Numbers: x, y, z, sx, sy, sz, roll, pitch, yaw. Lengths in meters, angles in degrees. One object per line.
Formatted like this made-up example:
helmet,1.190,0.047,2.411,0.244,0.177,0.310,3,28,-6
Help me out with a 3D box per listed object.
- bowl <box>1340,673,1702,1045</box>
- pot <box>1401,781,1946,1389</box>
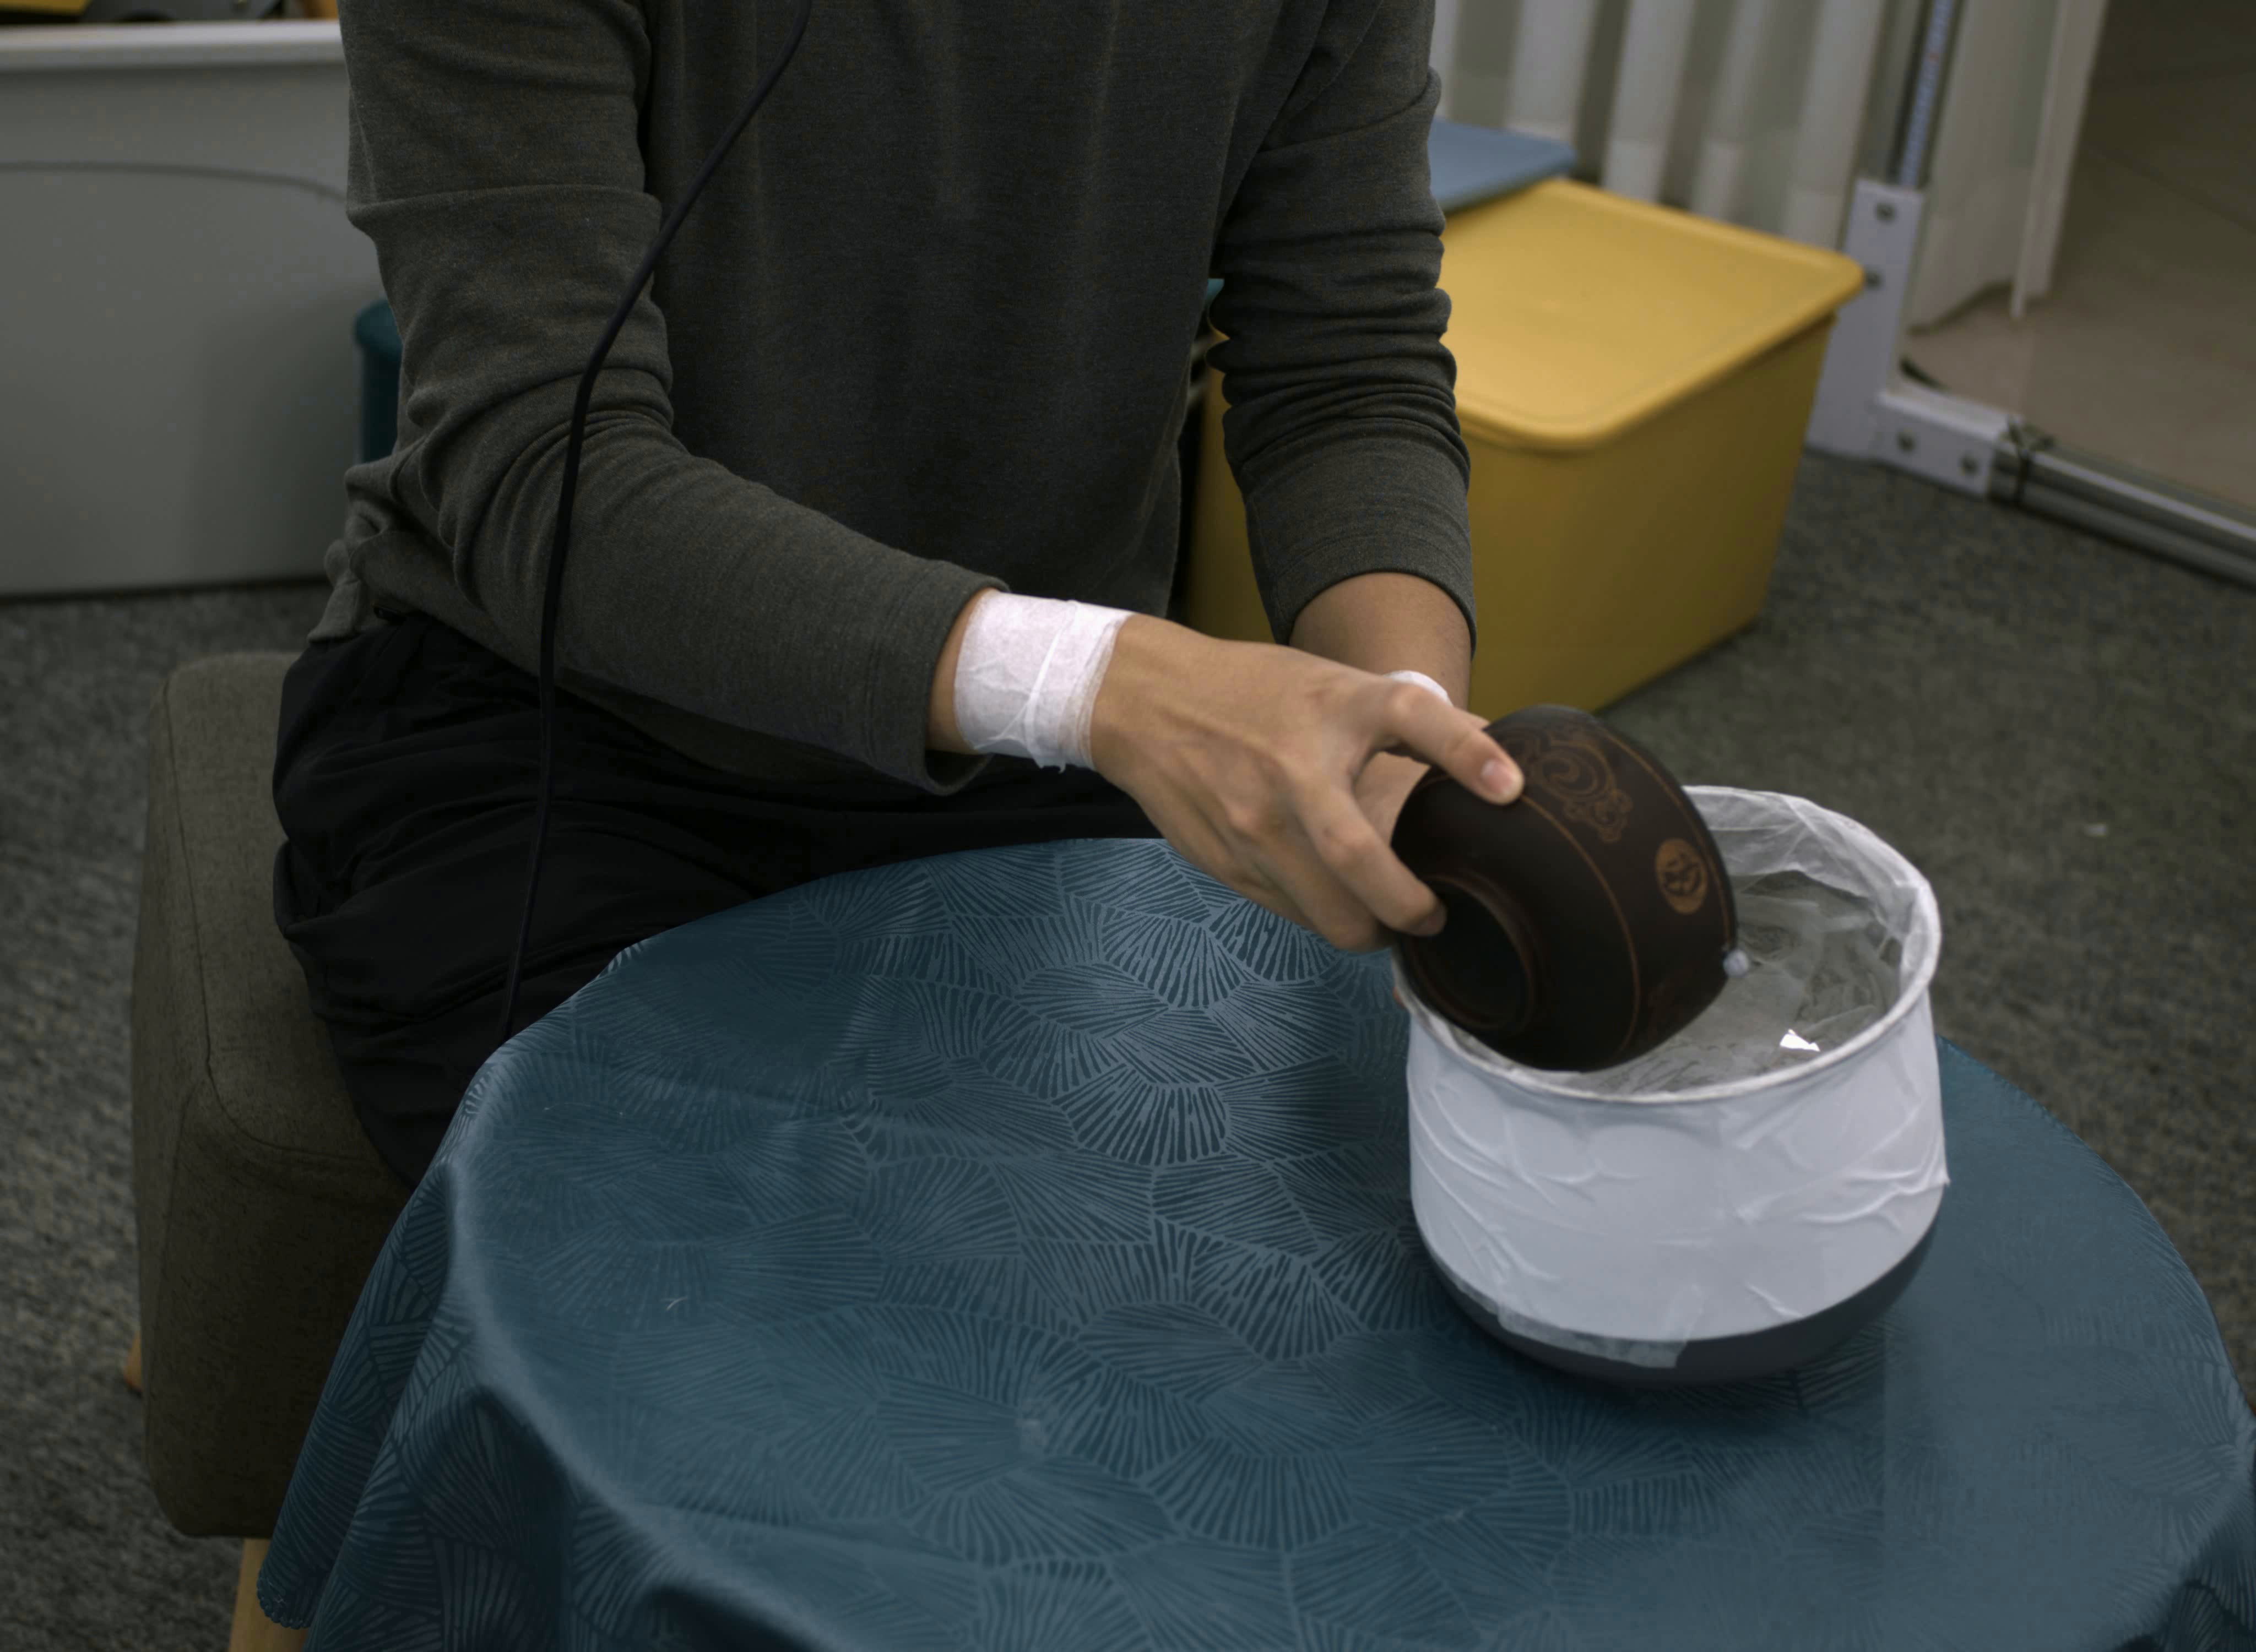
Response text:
bowl,0.116,0.018,1.689,0.119,0.117,0.070,25,42,31
pot,0.164,0.075,1.763,0.178,0.136,0.236,-21,36,-22
